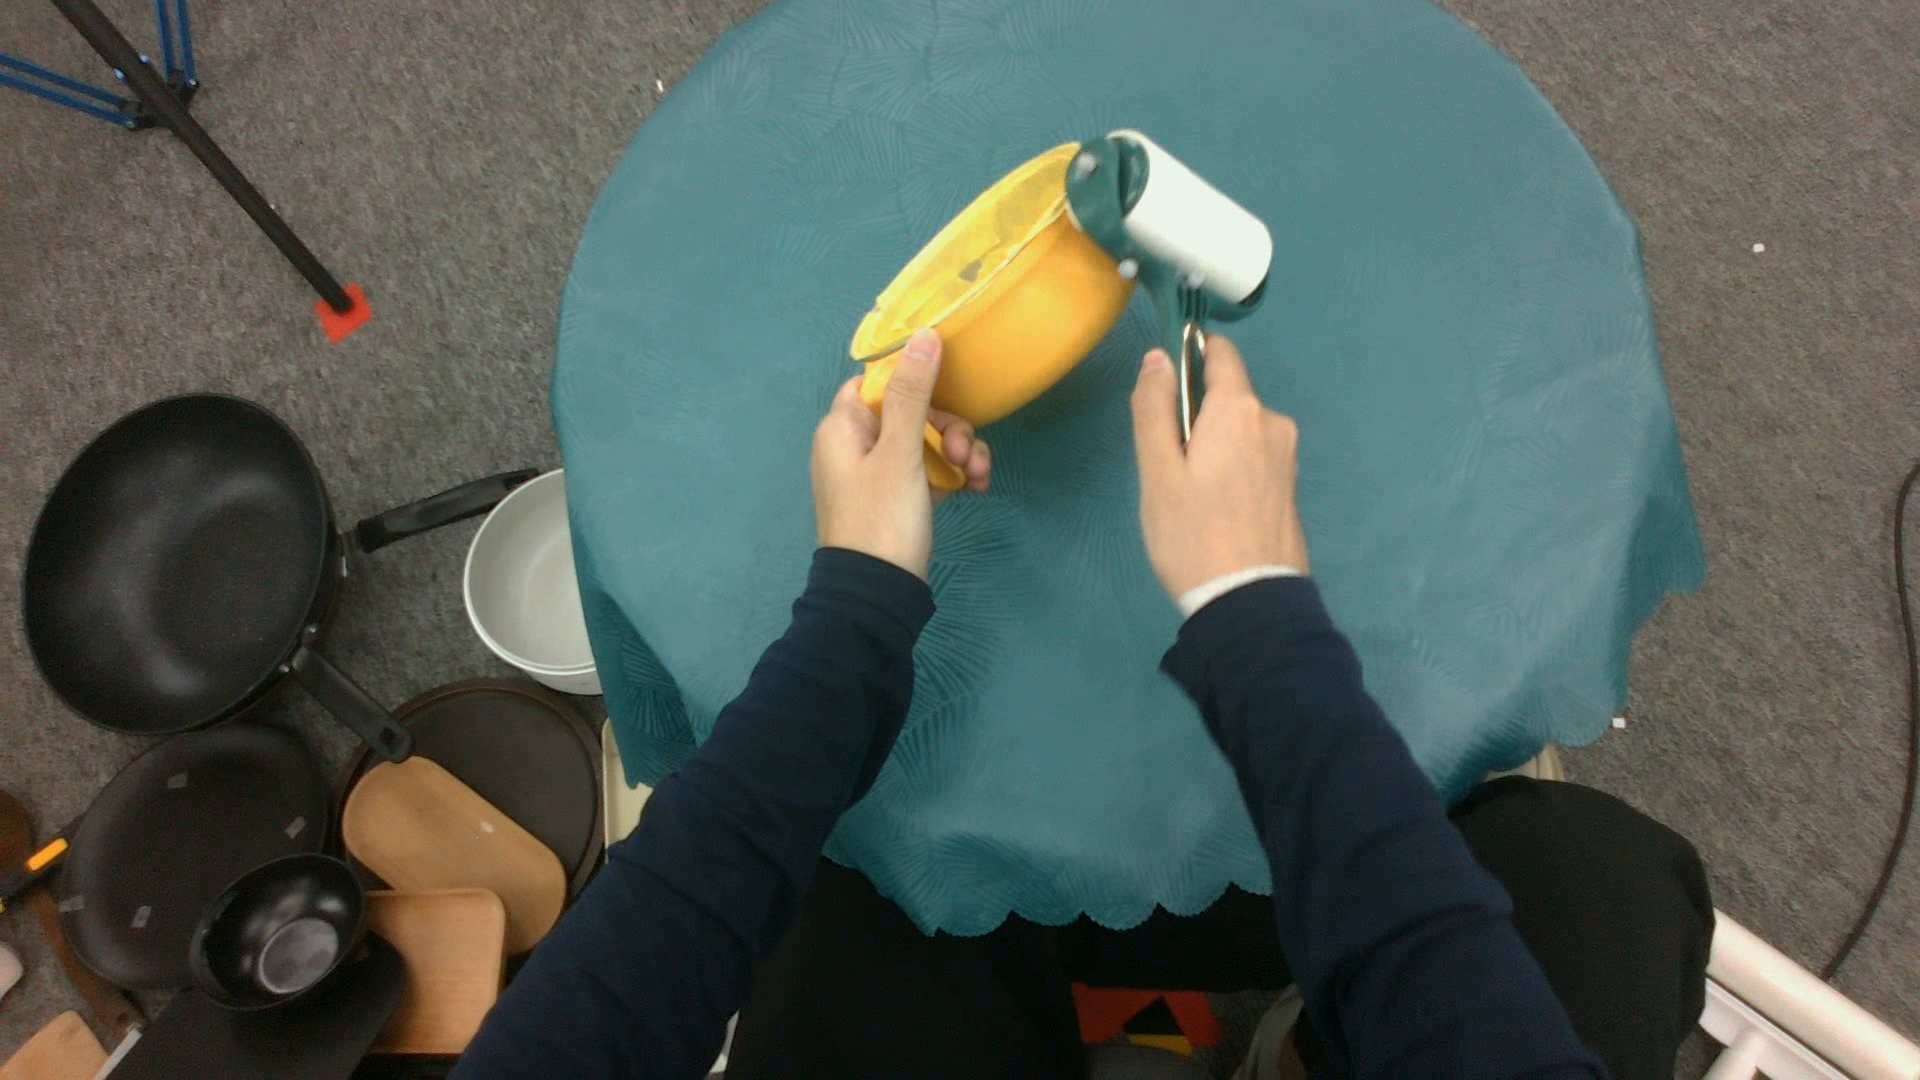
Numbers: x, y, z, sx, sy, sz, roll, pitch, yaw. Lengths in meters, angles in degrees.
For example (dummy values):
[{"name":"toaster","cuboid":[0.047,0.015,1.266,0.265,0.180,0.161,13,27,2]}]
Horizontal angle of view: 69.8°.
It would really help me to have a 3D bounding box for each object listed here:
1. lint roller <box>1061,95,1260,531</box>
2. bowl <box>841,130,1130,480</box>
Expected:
[{"name":"lint roller","cuboid":[0.101,-0.094,0.614,0.048,0.134,0.180,-22,64,35]},{"name":"bowl","cuboid":[0.010,-0.115,0.679,0.074,0.152,0.180,47,50,-22]}]
